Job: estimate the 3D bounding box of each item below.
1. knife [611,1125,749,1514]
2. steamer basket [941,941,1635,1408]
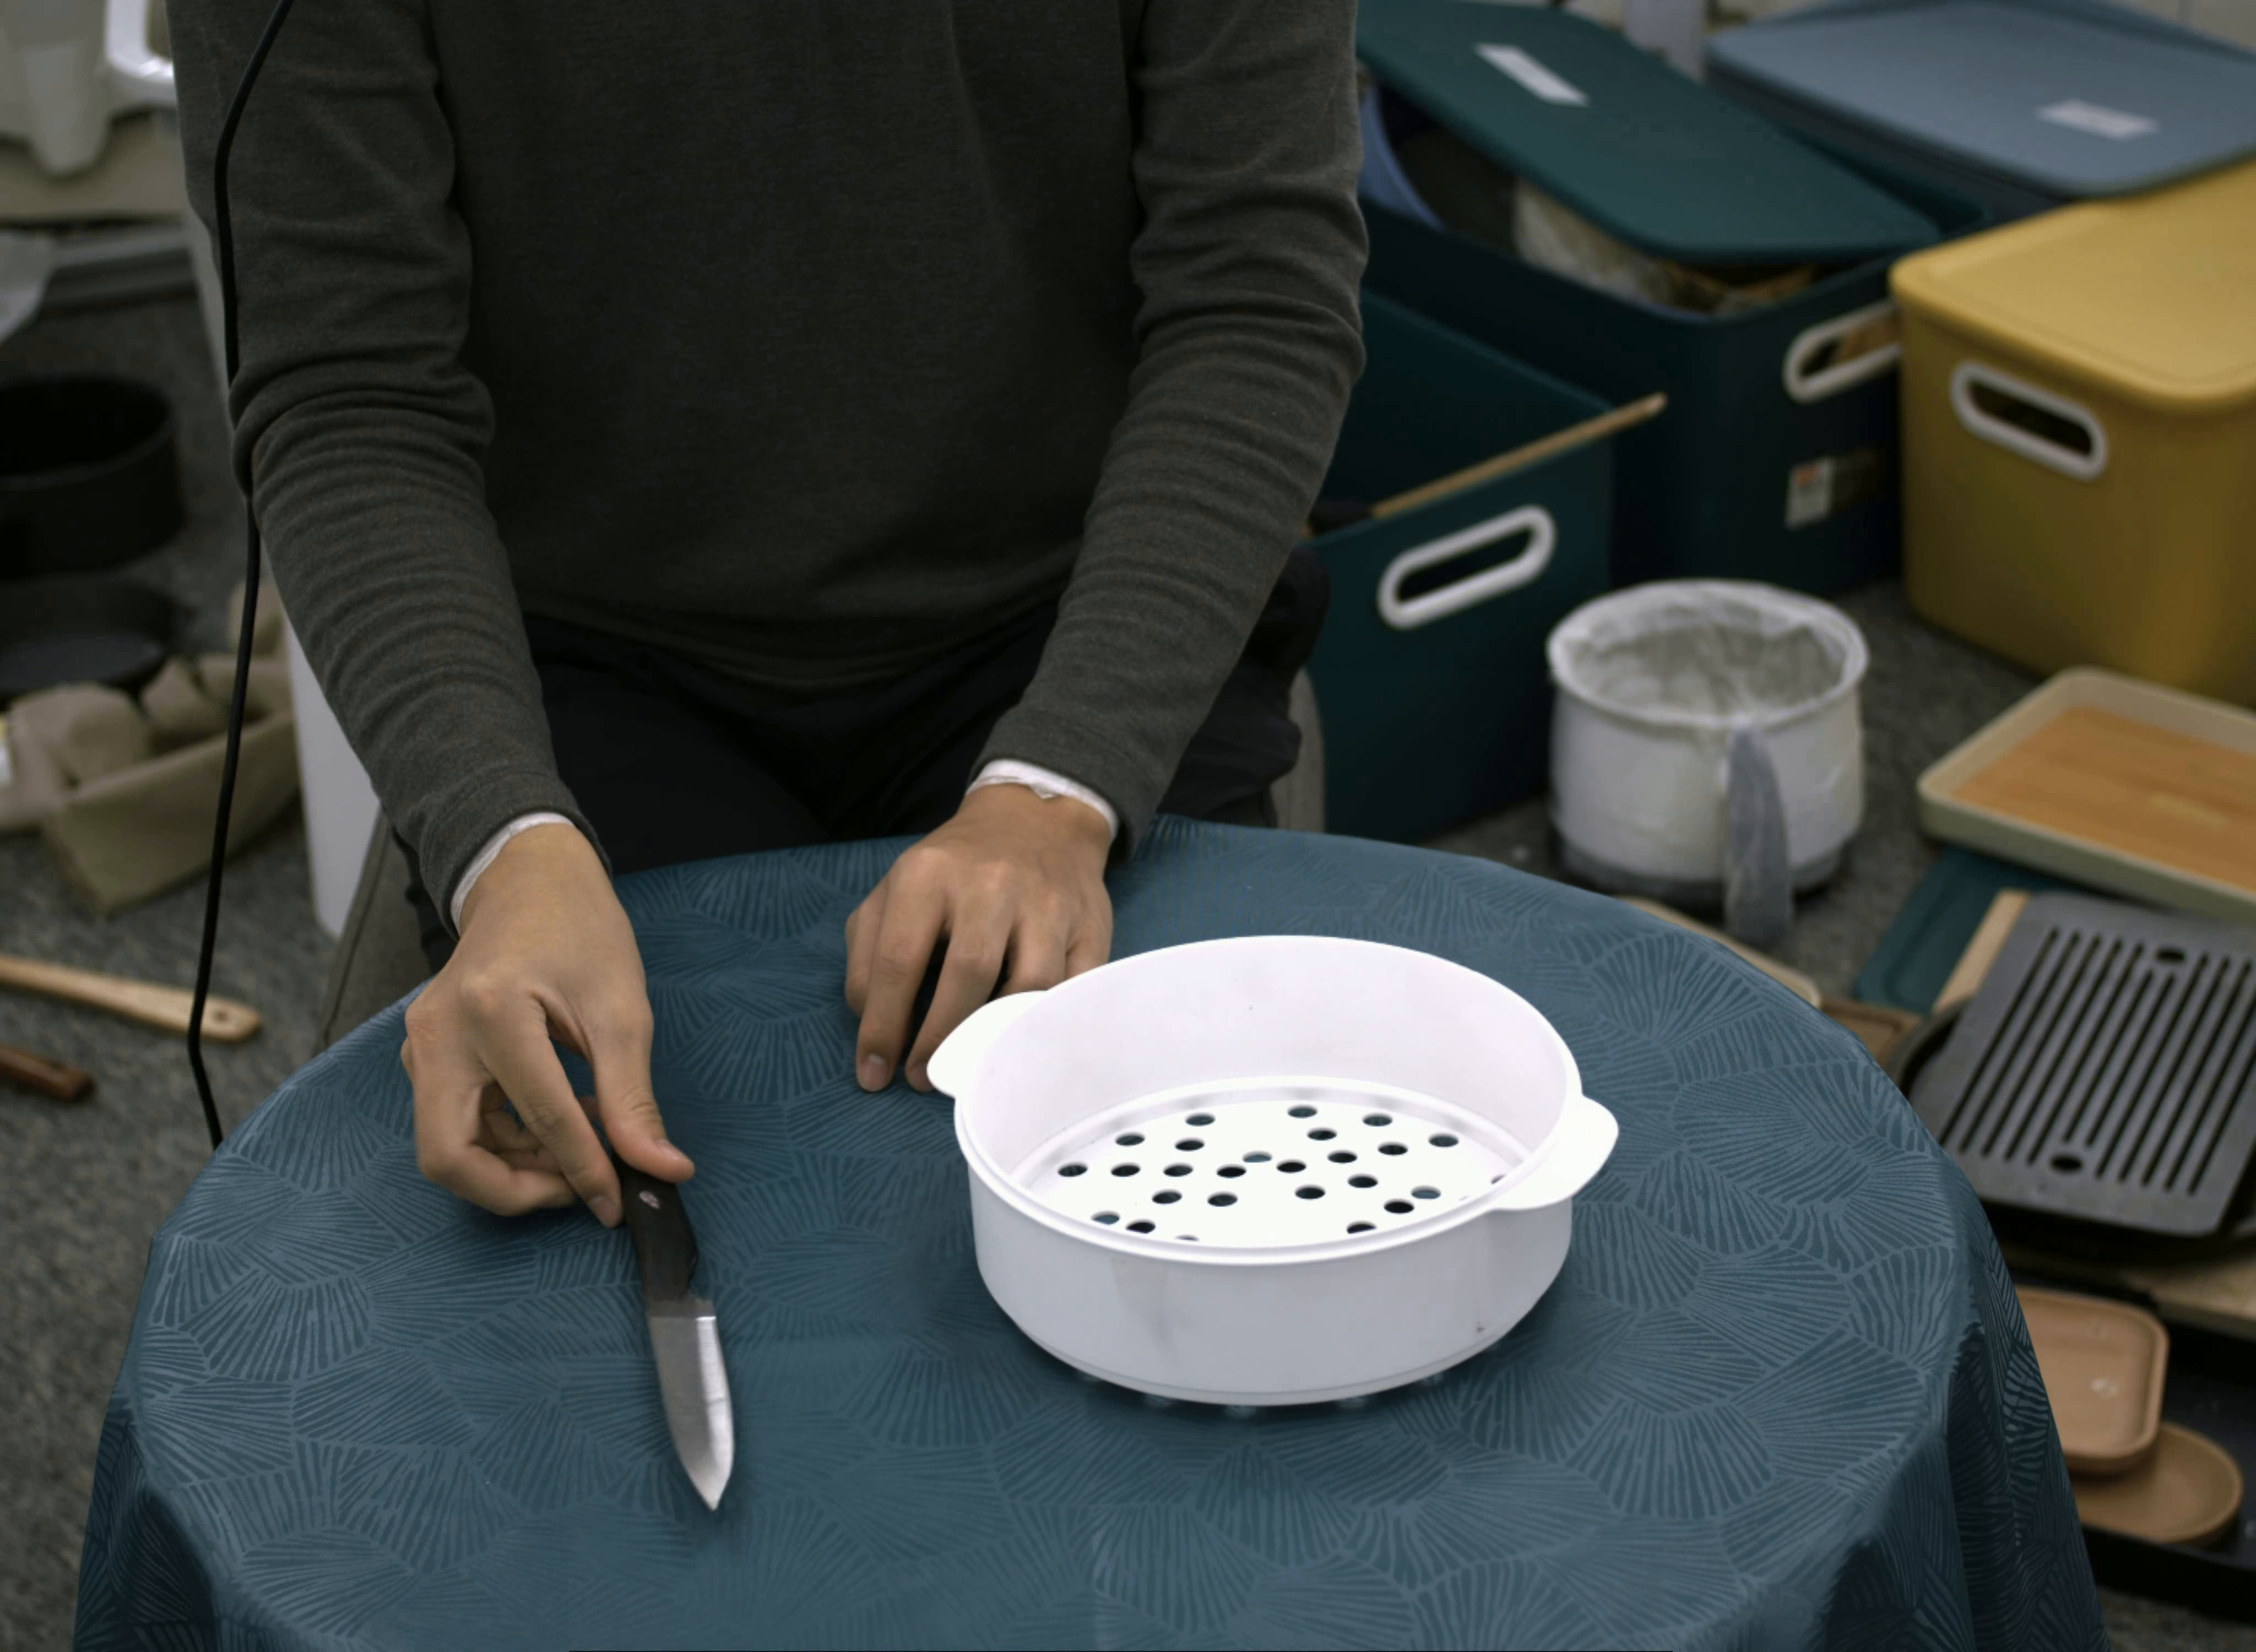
[{"bbox_3d":[-0.144,0.156,1.787,0.024,0.016,0.241,-3,25,-11],"label":"knife"},{"bbox_3d":[0.051,0.111,1.803,0.229,0.068,0.205,10,29,25],"label":"steamer basket"}]
